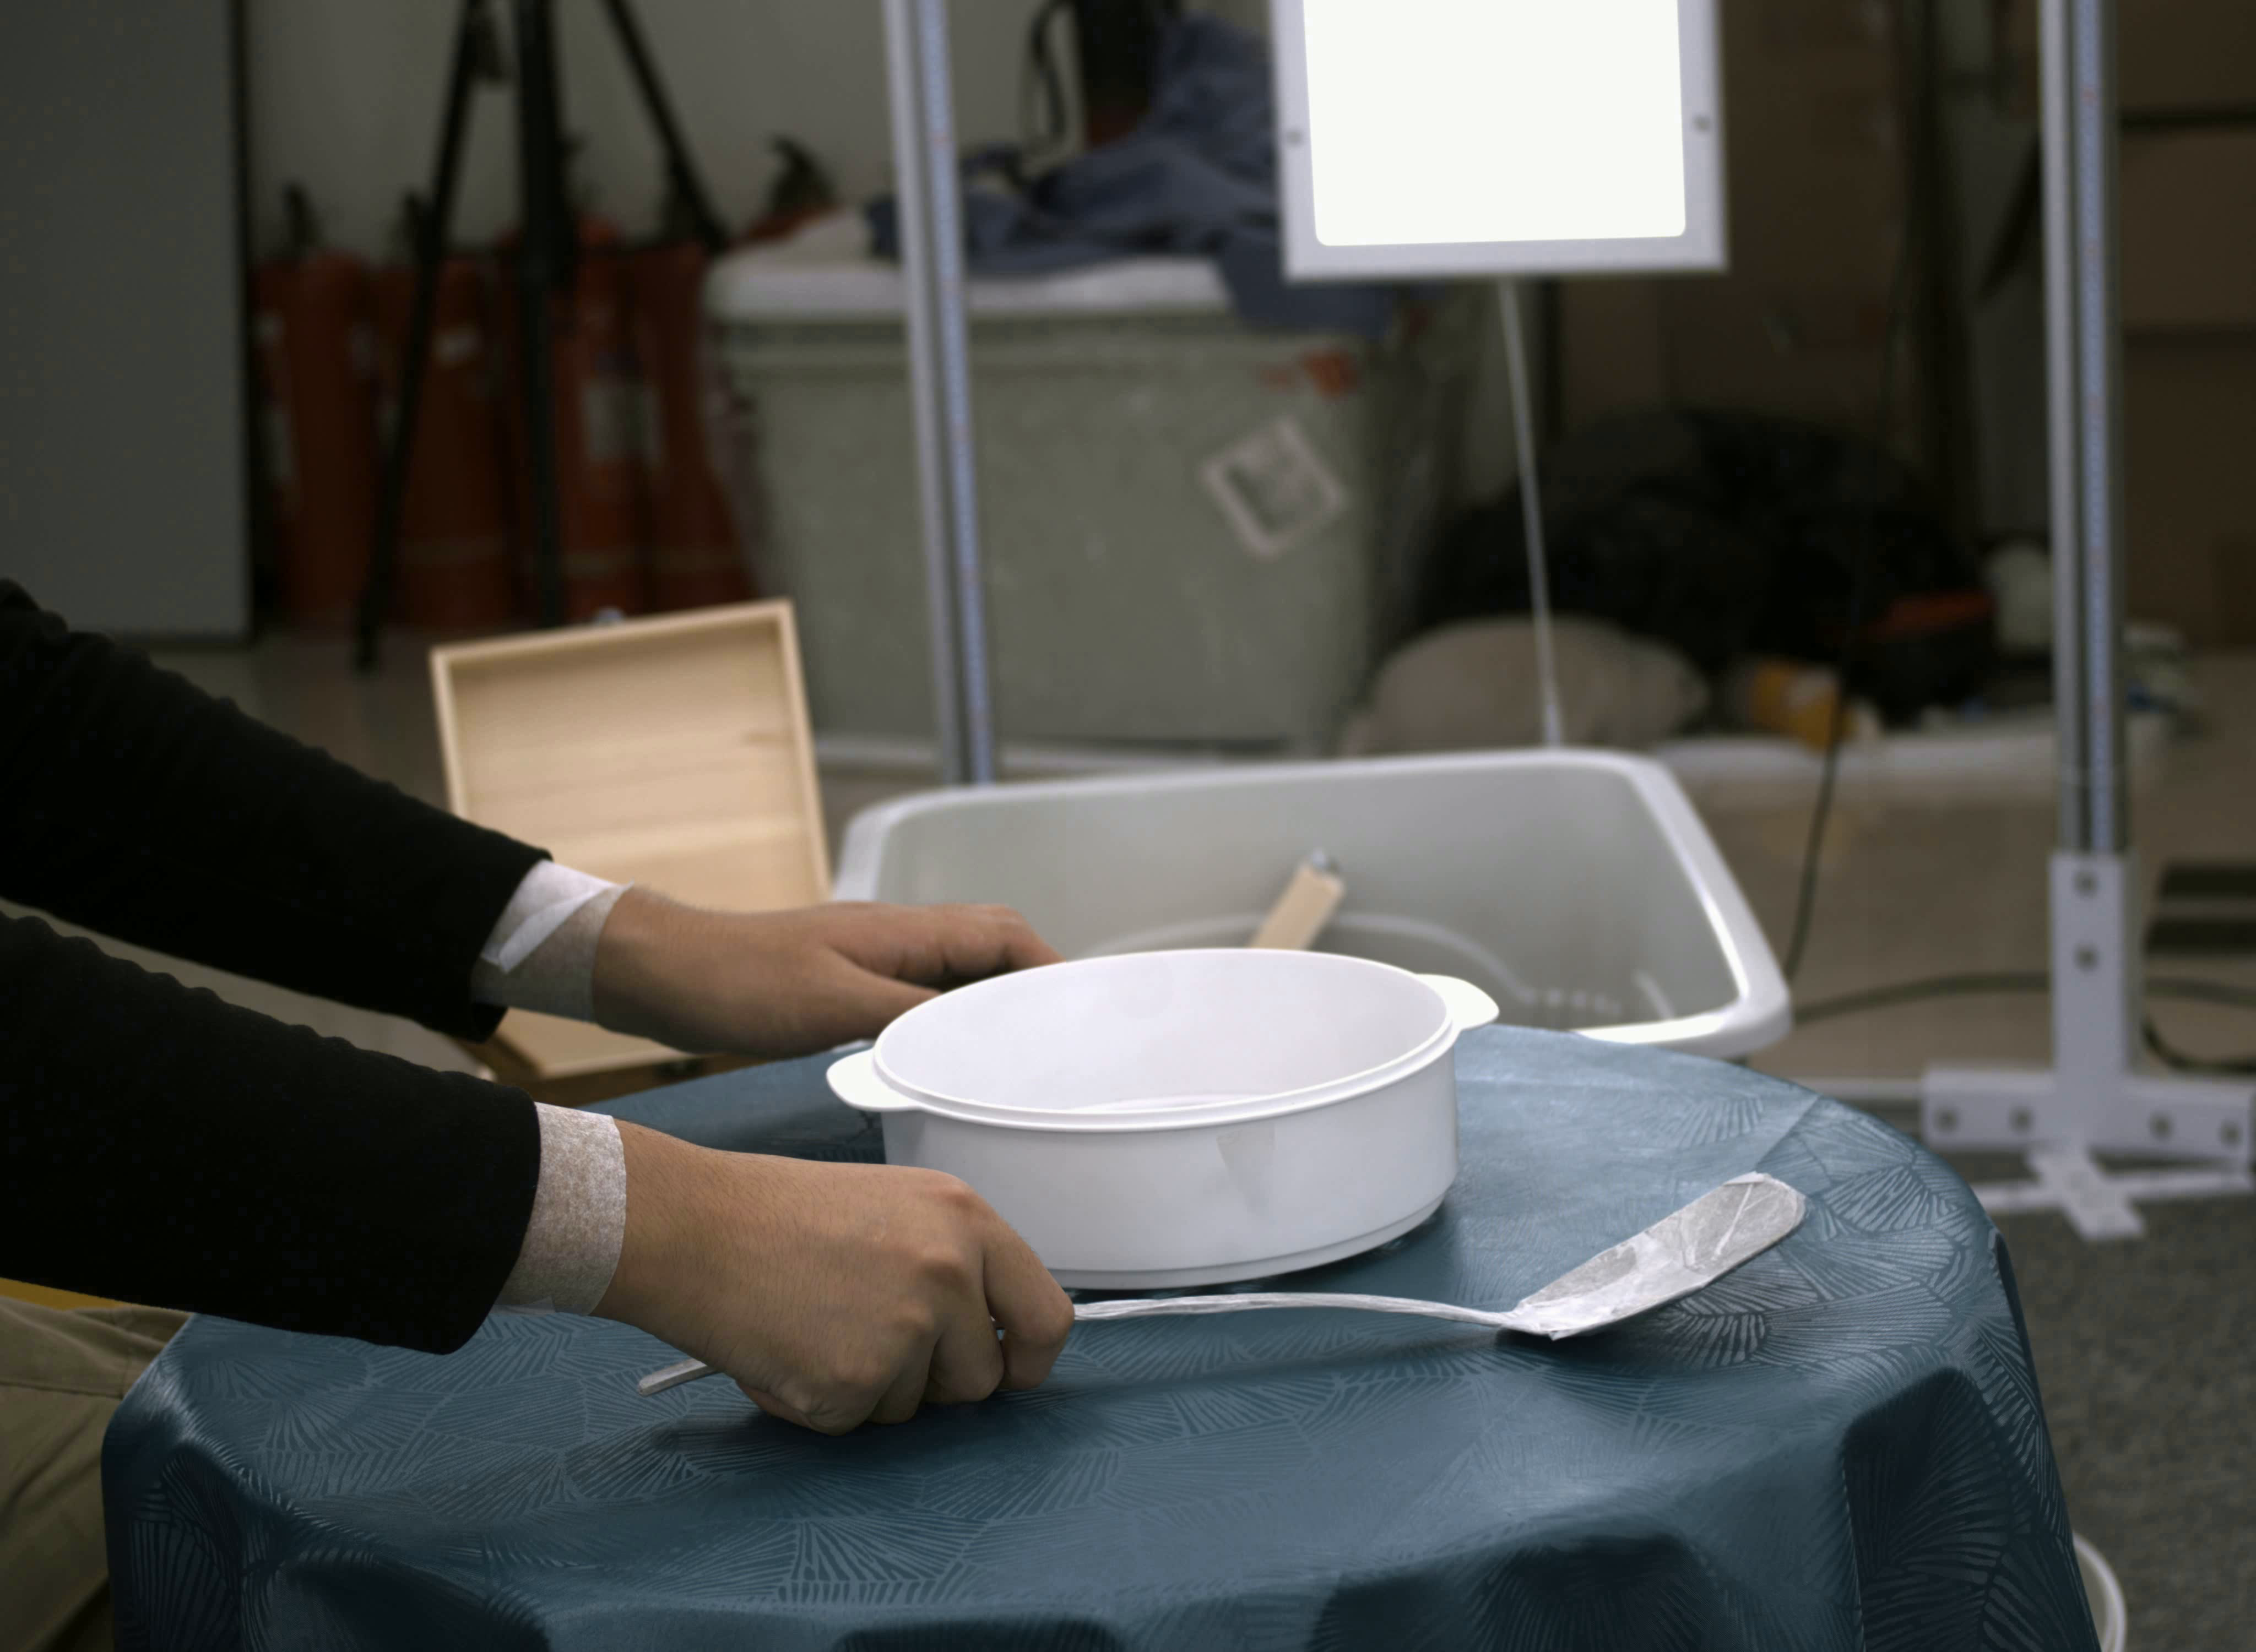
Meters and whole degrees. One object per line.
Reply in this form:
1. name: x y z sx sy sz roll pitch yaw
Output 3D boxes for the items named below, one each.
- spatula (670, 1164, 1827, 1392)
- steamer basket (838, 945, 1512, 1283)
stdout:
1. spatula: 0.038 0.144 1.713 0.363 0.045 0.099 -4 8 -2
2. steamer basket: 0.019 0.097 1.862 0.228 0.069 0.203 -8 13 -10
